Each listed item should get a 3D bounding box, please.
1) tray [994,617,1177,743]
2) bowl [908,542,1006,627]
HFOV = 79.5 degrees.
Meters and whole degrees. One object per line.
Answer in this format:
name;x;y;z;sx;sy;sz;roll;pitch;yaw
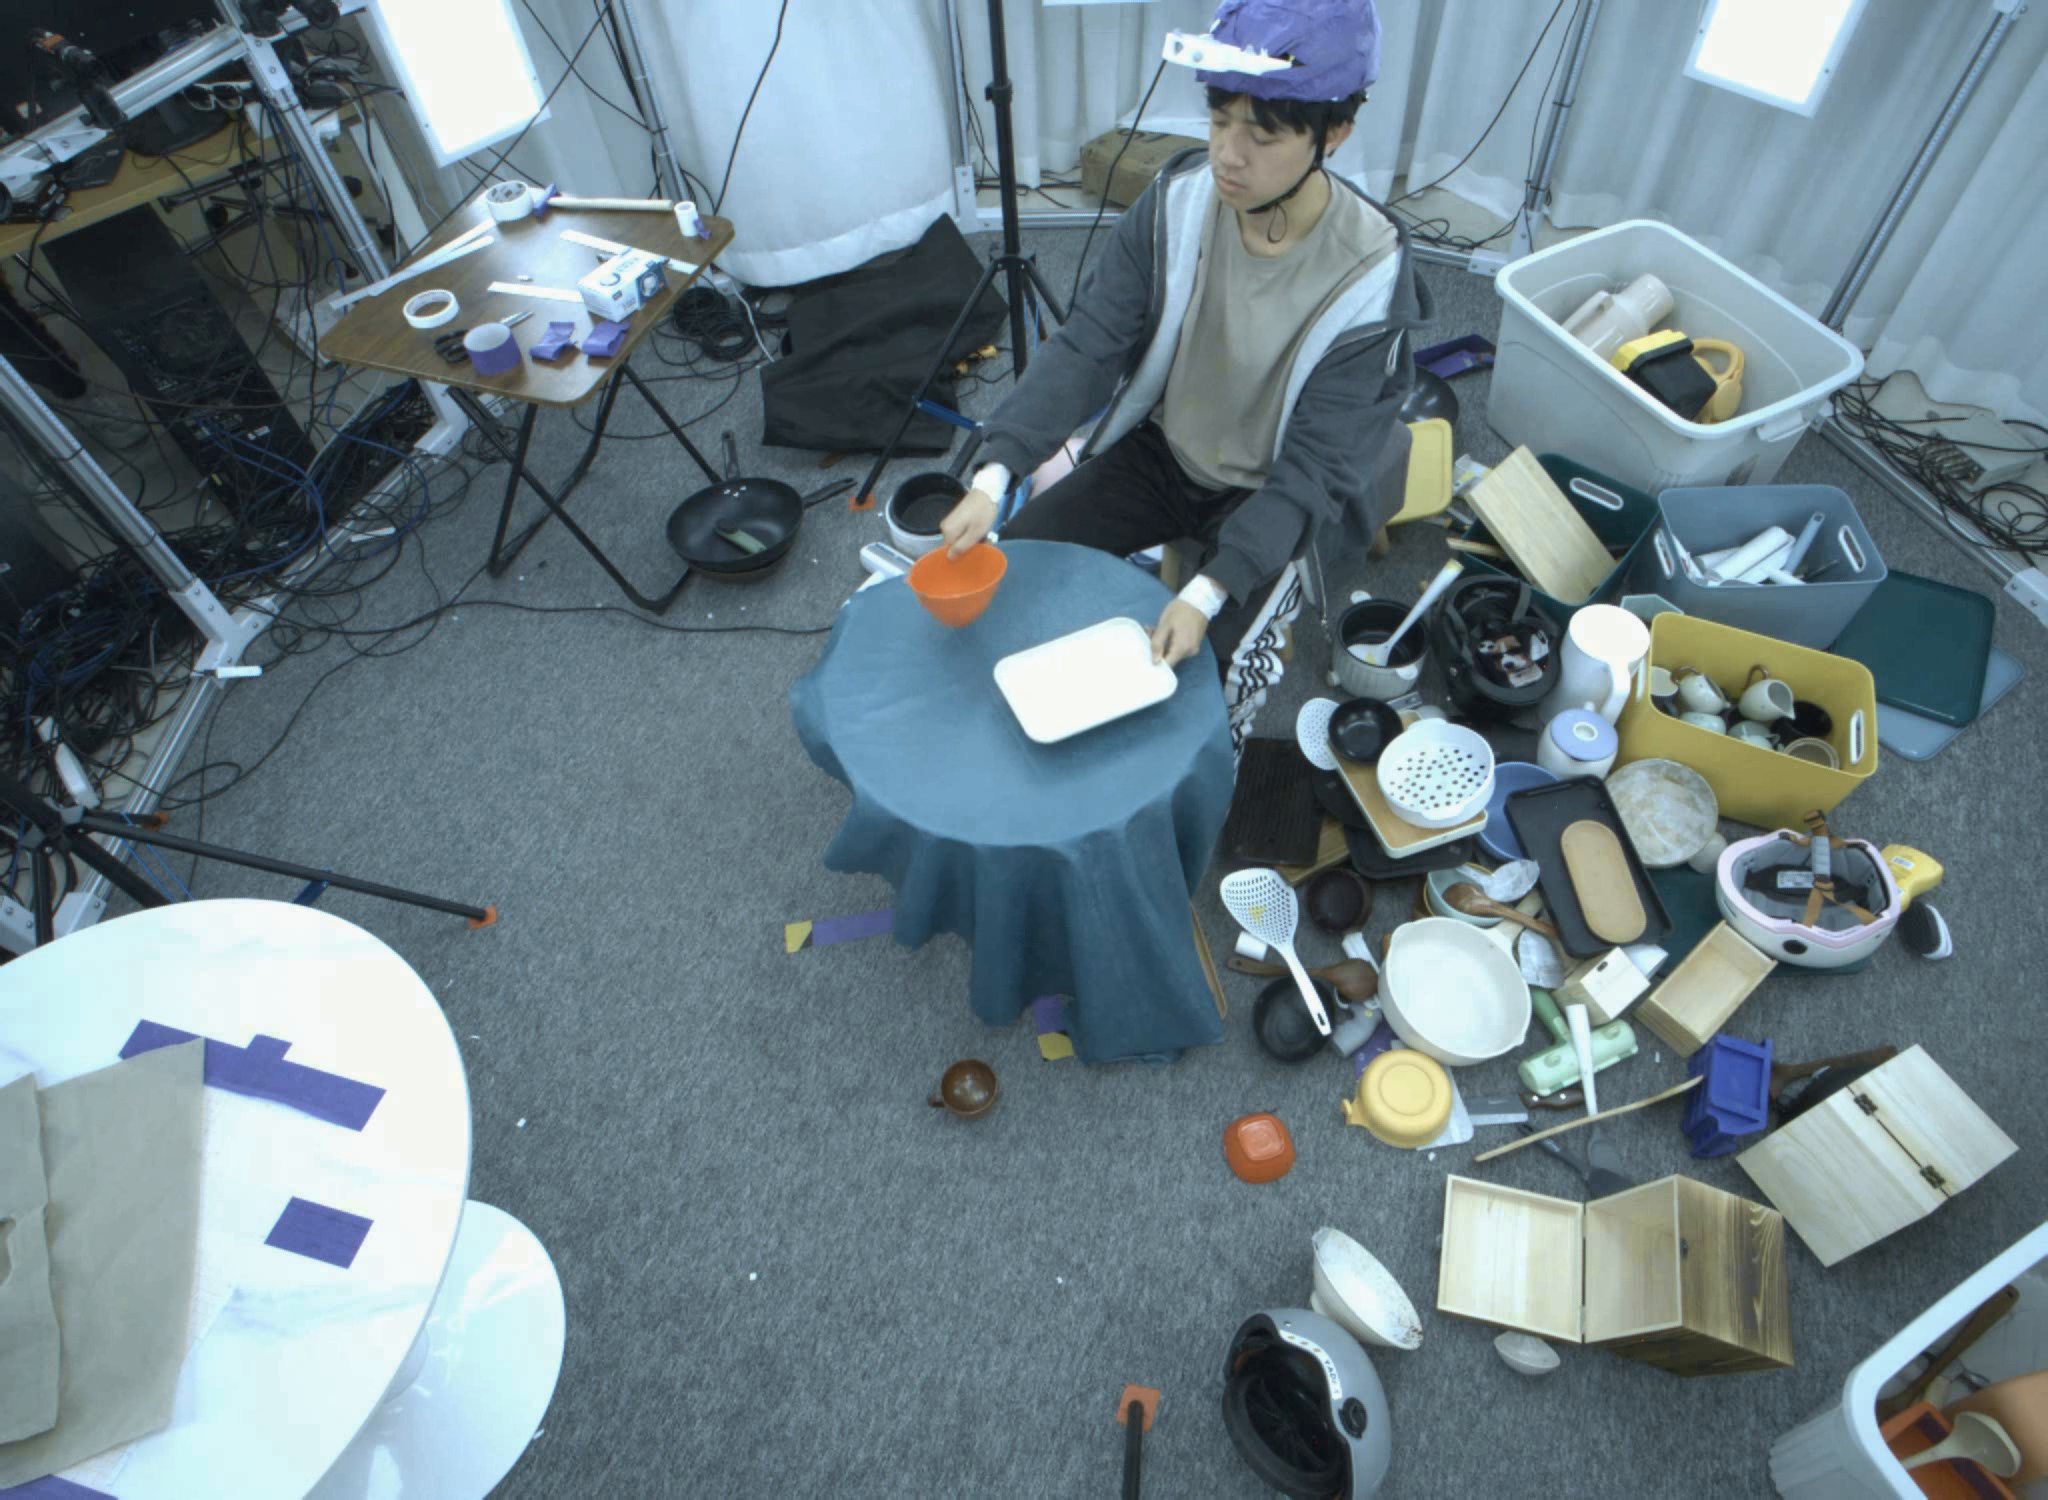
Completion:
tray;0.090;-0.103;1.799;0.241;0.017;0.168;-21;56;-14
bowl;-0.098;-0.237;1.827;0.148;0.106;0.146;-1;50;2
